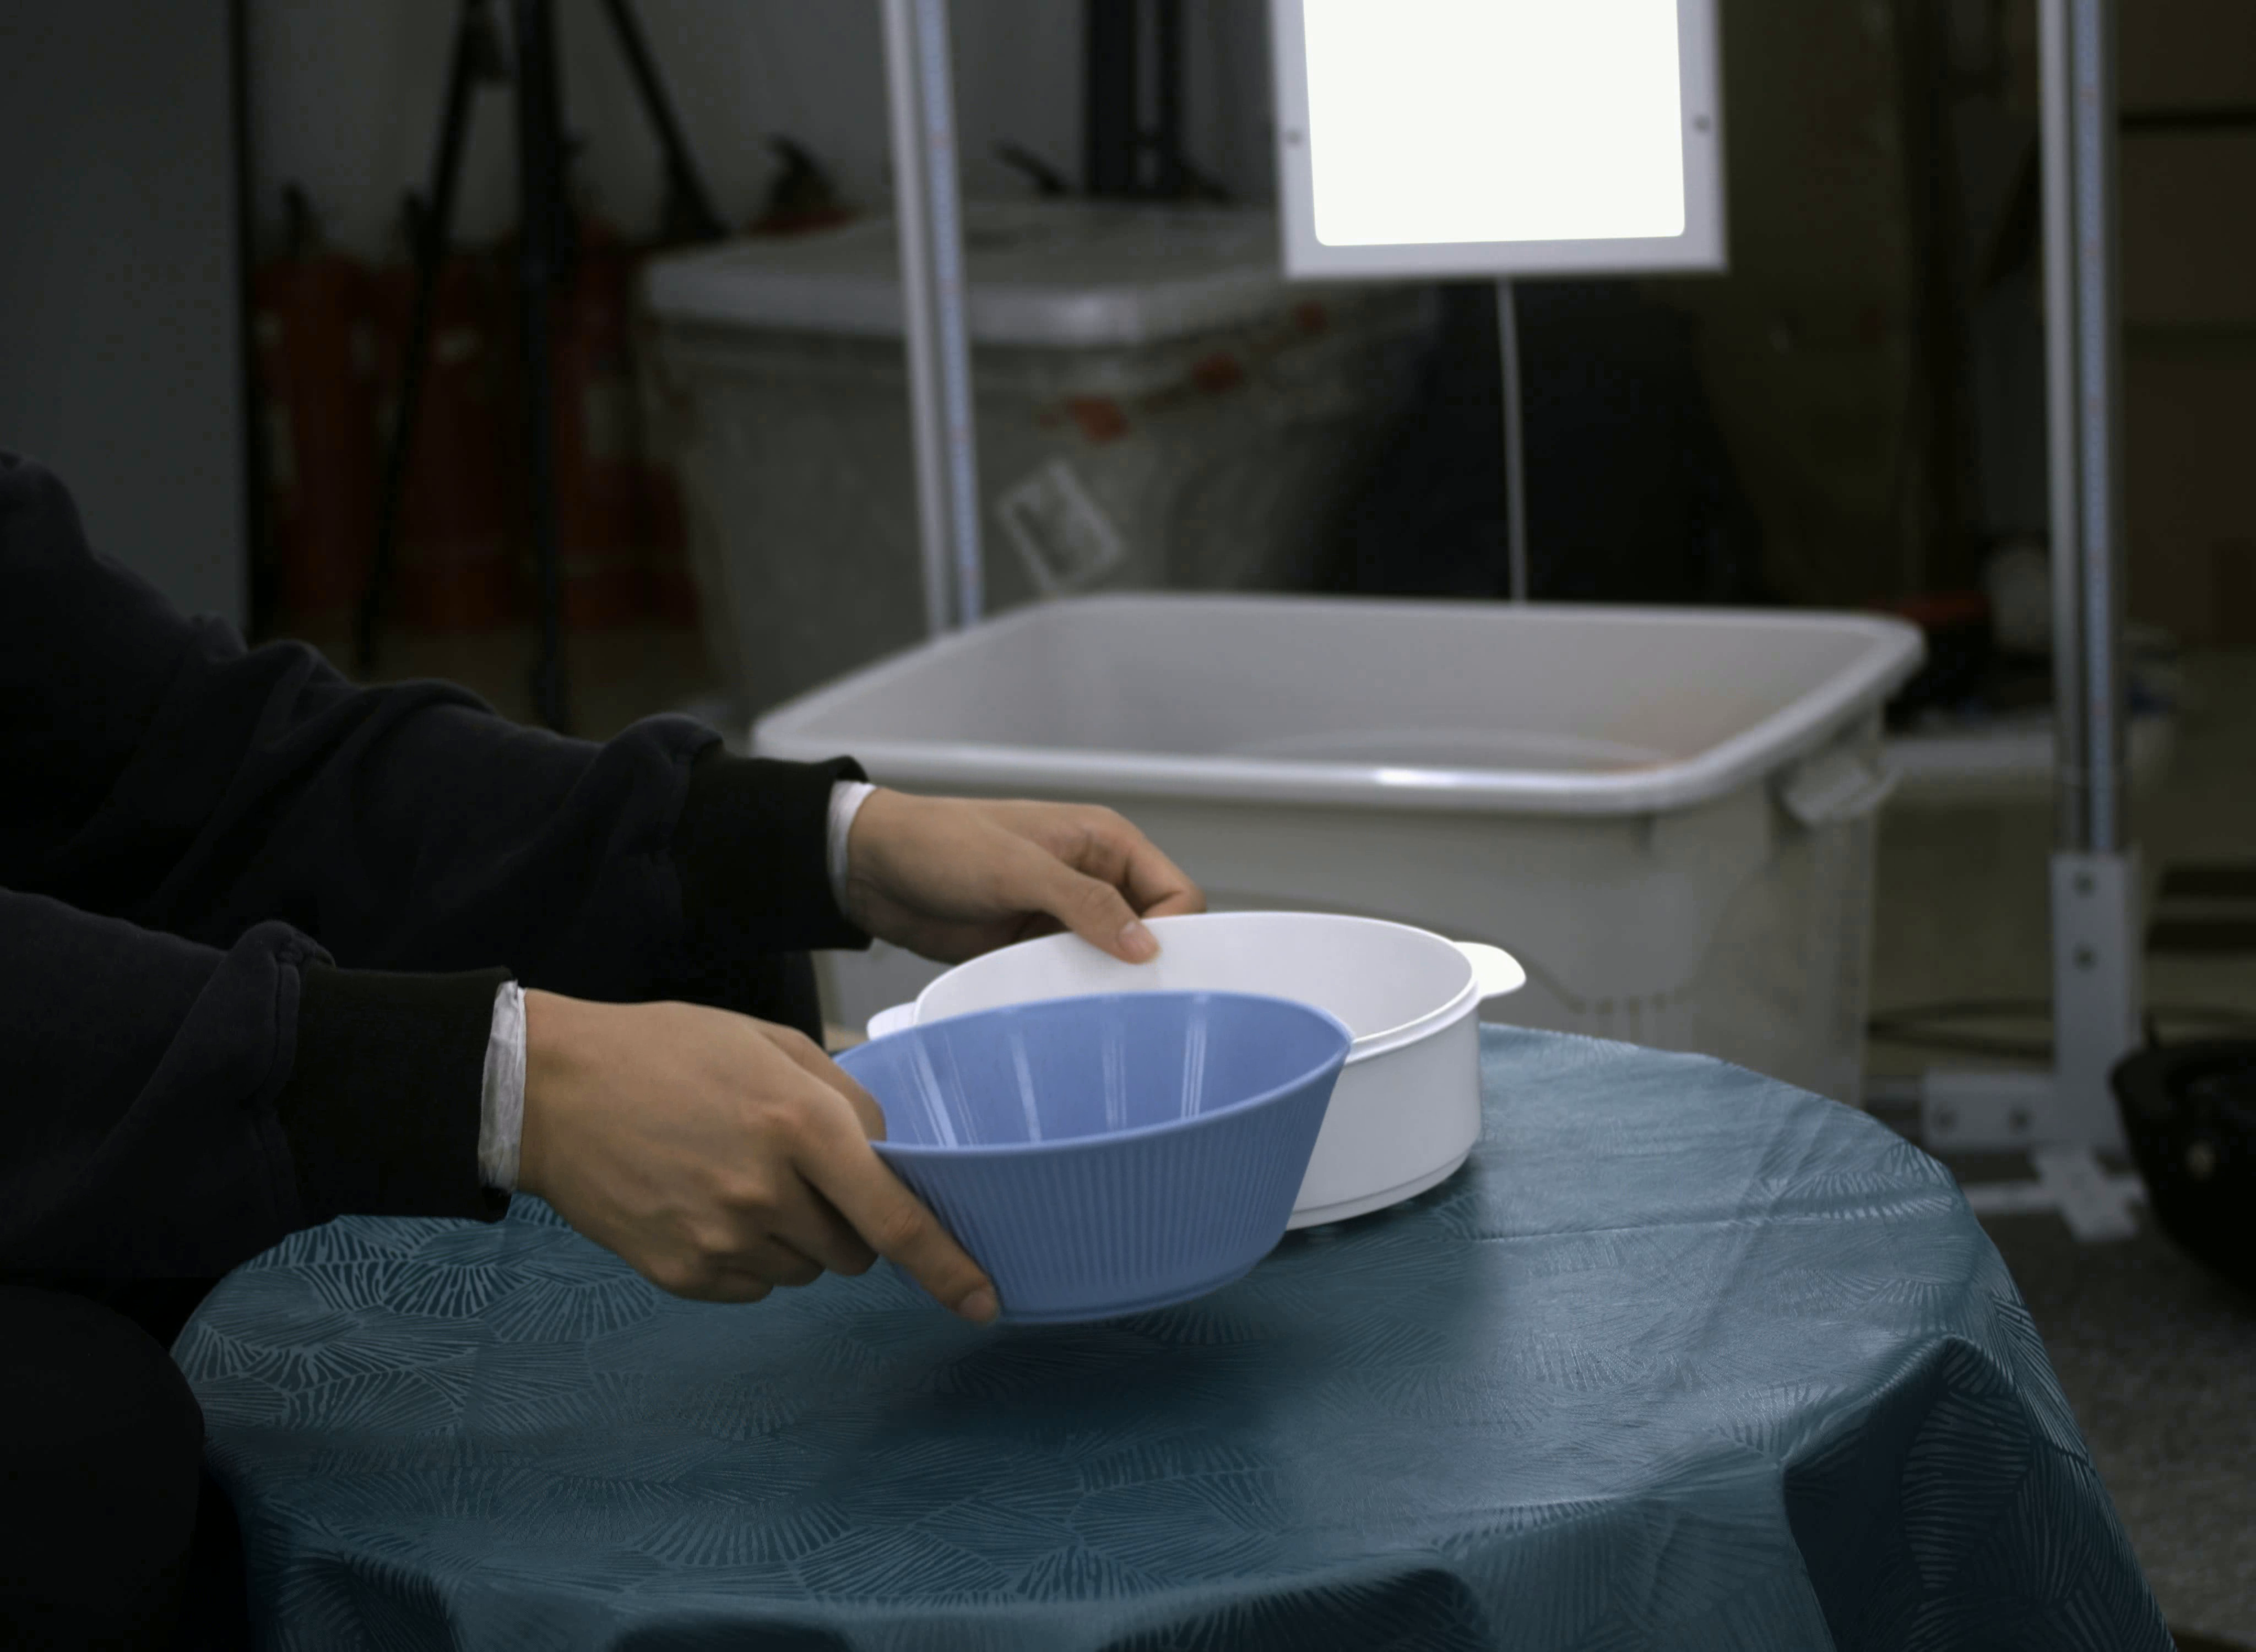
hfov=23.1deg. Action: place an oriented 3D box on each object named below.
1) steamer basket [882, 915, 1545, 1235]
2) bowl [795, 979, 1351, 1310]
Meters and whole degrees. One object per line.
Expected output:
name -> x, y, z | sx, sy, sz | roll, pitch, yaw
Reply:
steamer basket -> 0.031, 0.086, 1.907 | 0.228, 0.069, 0.203 | -4, 13, -7
bowl -> -0.013, 0.102, 1.719 | 0.175, 0.070, 0.176 | -8, 11, 0
